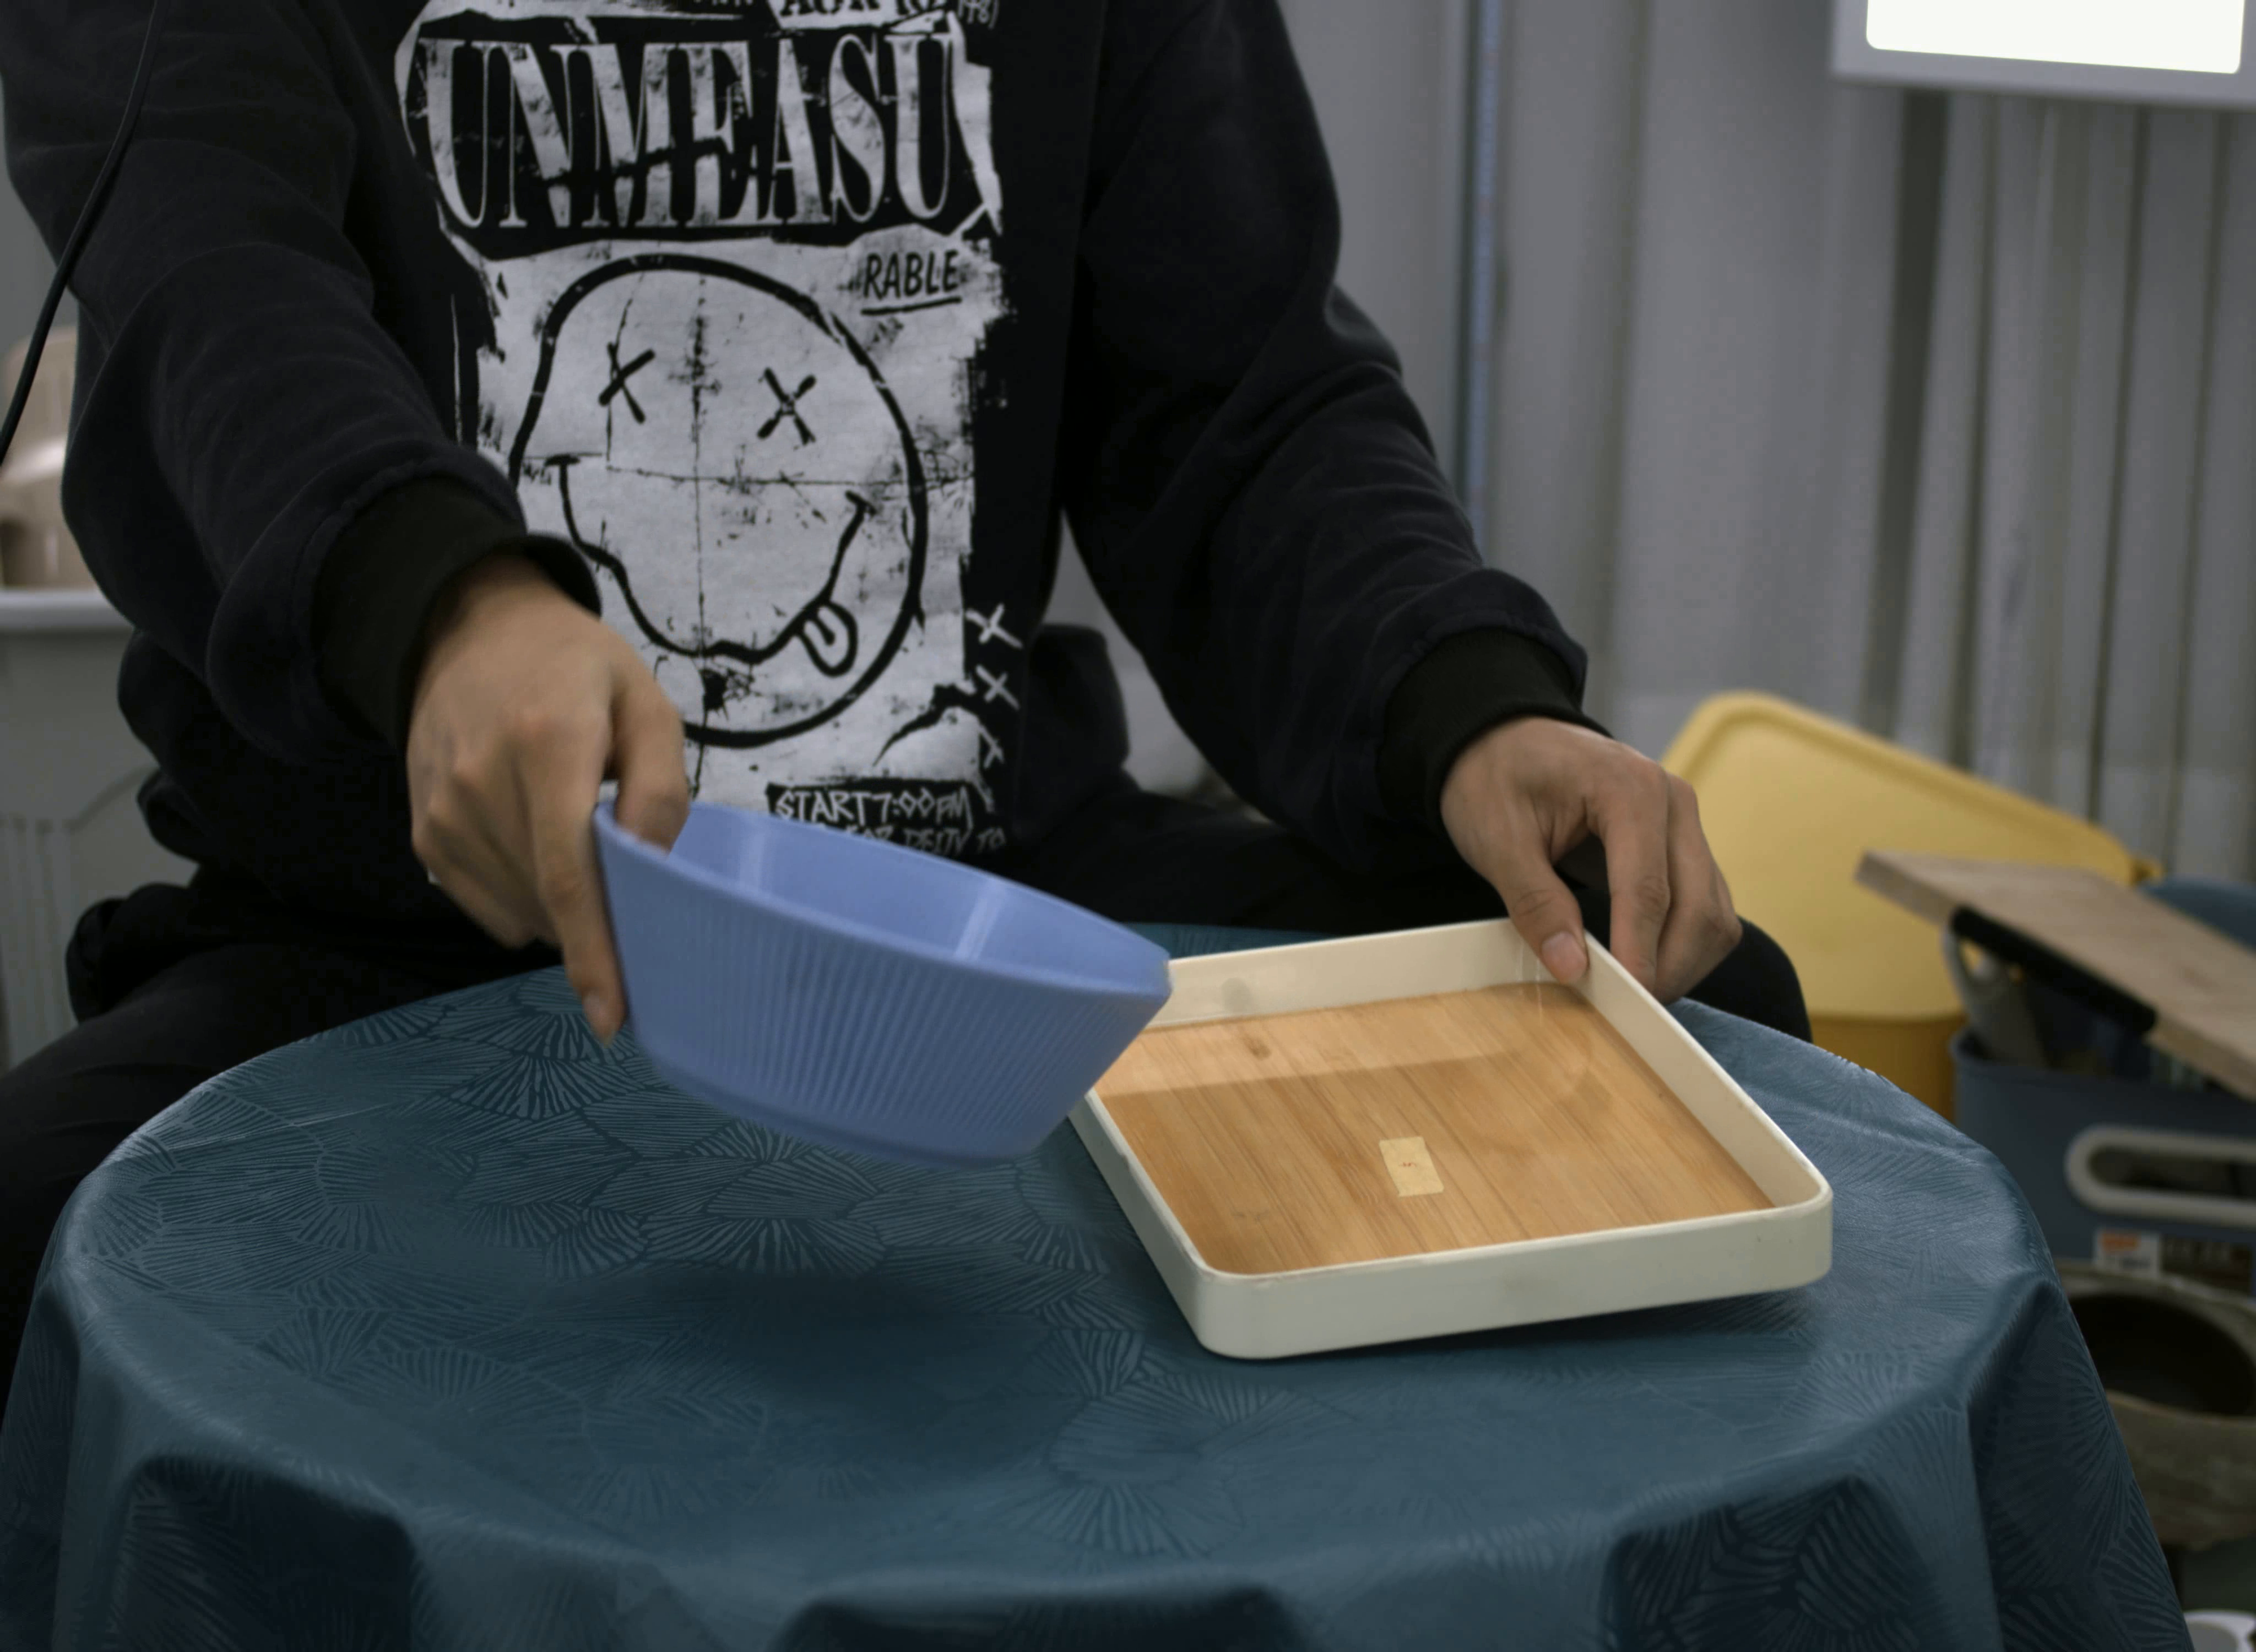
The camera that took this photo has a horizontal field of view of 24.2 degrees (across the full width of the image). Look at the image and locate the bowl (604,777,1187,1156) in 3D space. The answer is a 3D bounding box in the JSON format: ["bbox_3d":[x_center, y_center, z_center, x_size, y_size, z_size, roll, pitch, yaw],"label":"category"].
[{"bbox_3d":[-0.076,0.044,1.513,0.176,0.070,0.175,18,7,-2],"label":"bowl"}]

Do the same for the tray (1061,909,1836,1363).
[{"bbox_3d":[0.087,0.091,1.634,0.191,0.027,0.297,-7,17,-10],"label":"tray"}]
